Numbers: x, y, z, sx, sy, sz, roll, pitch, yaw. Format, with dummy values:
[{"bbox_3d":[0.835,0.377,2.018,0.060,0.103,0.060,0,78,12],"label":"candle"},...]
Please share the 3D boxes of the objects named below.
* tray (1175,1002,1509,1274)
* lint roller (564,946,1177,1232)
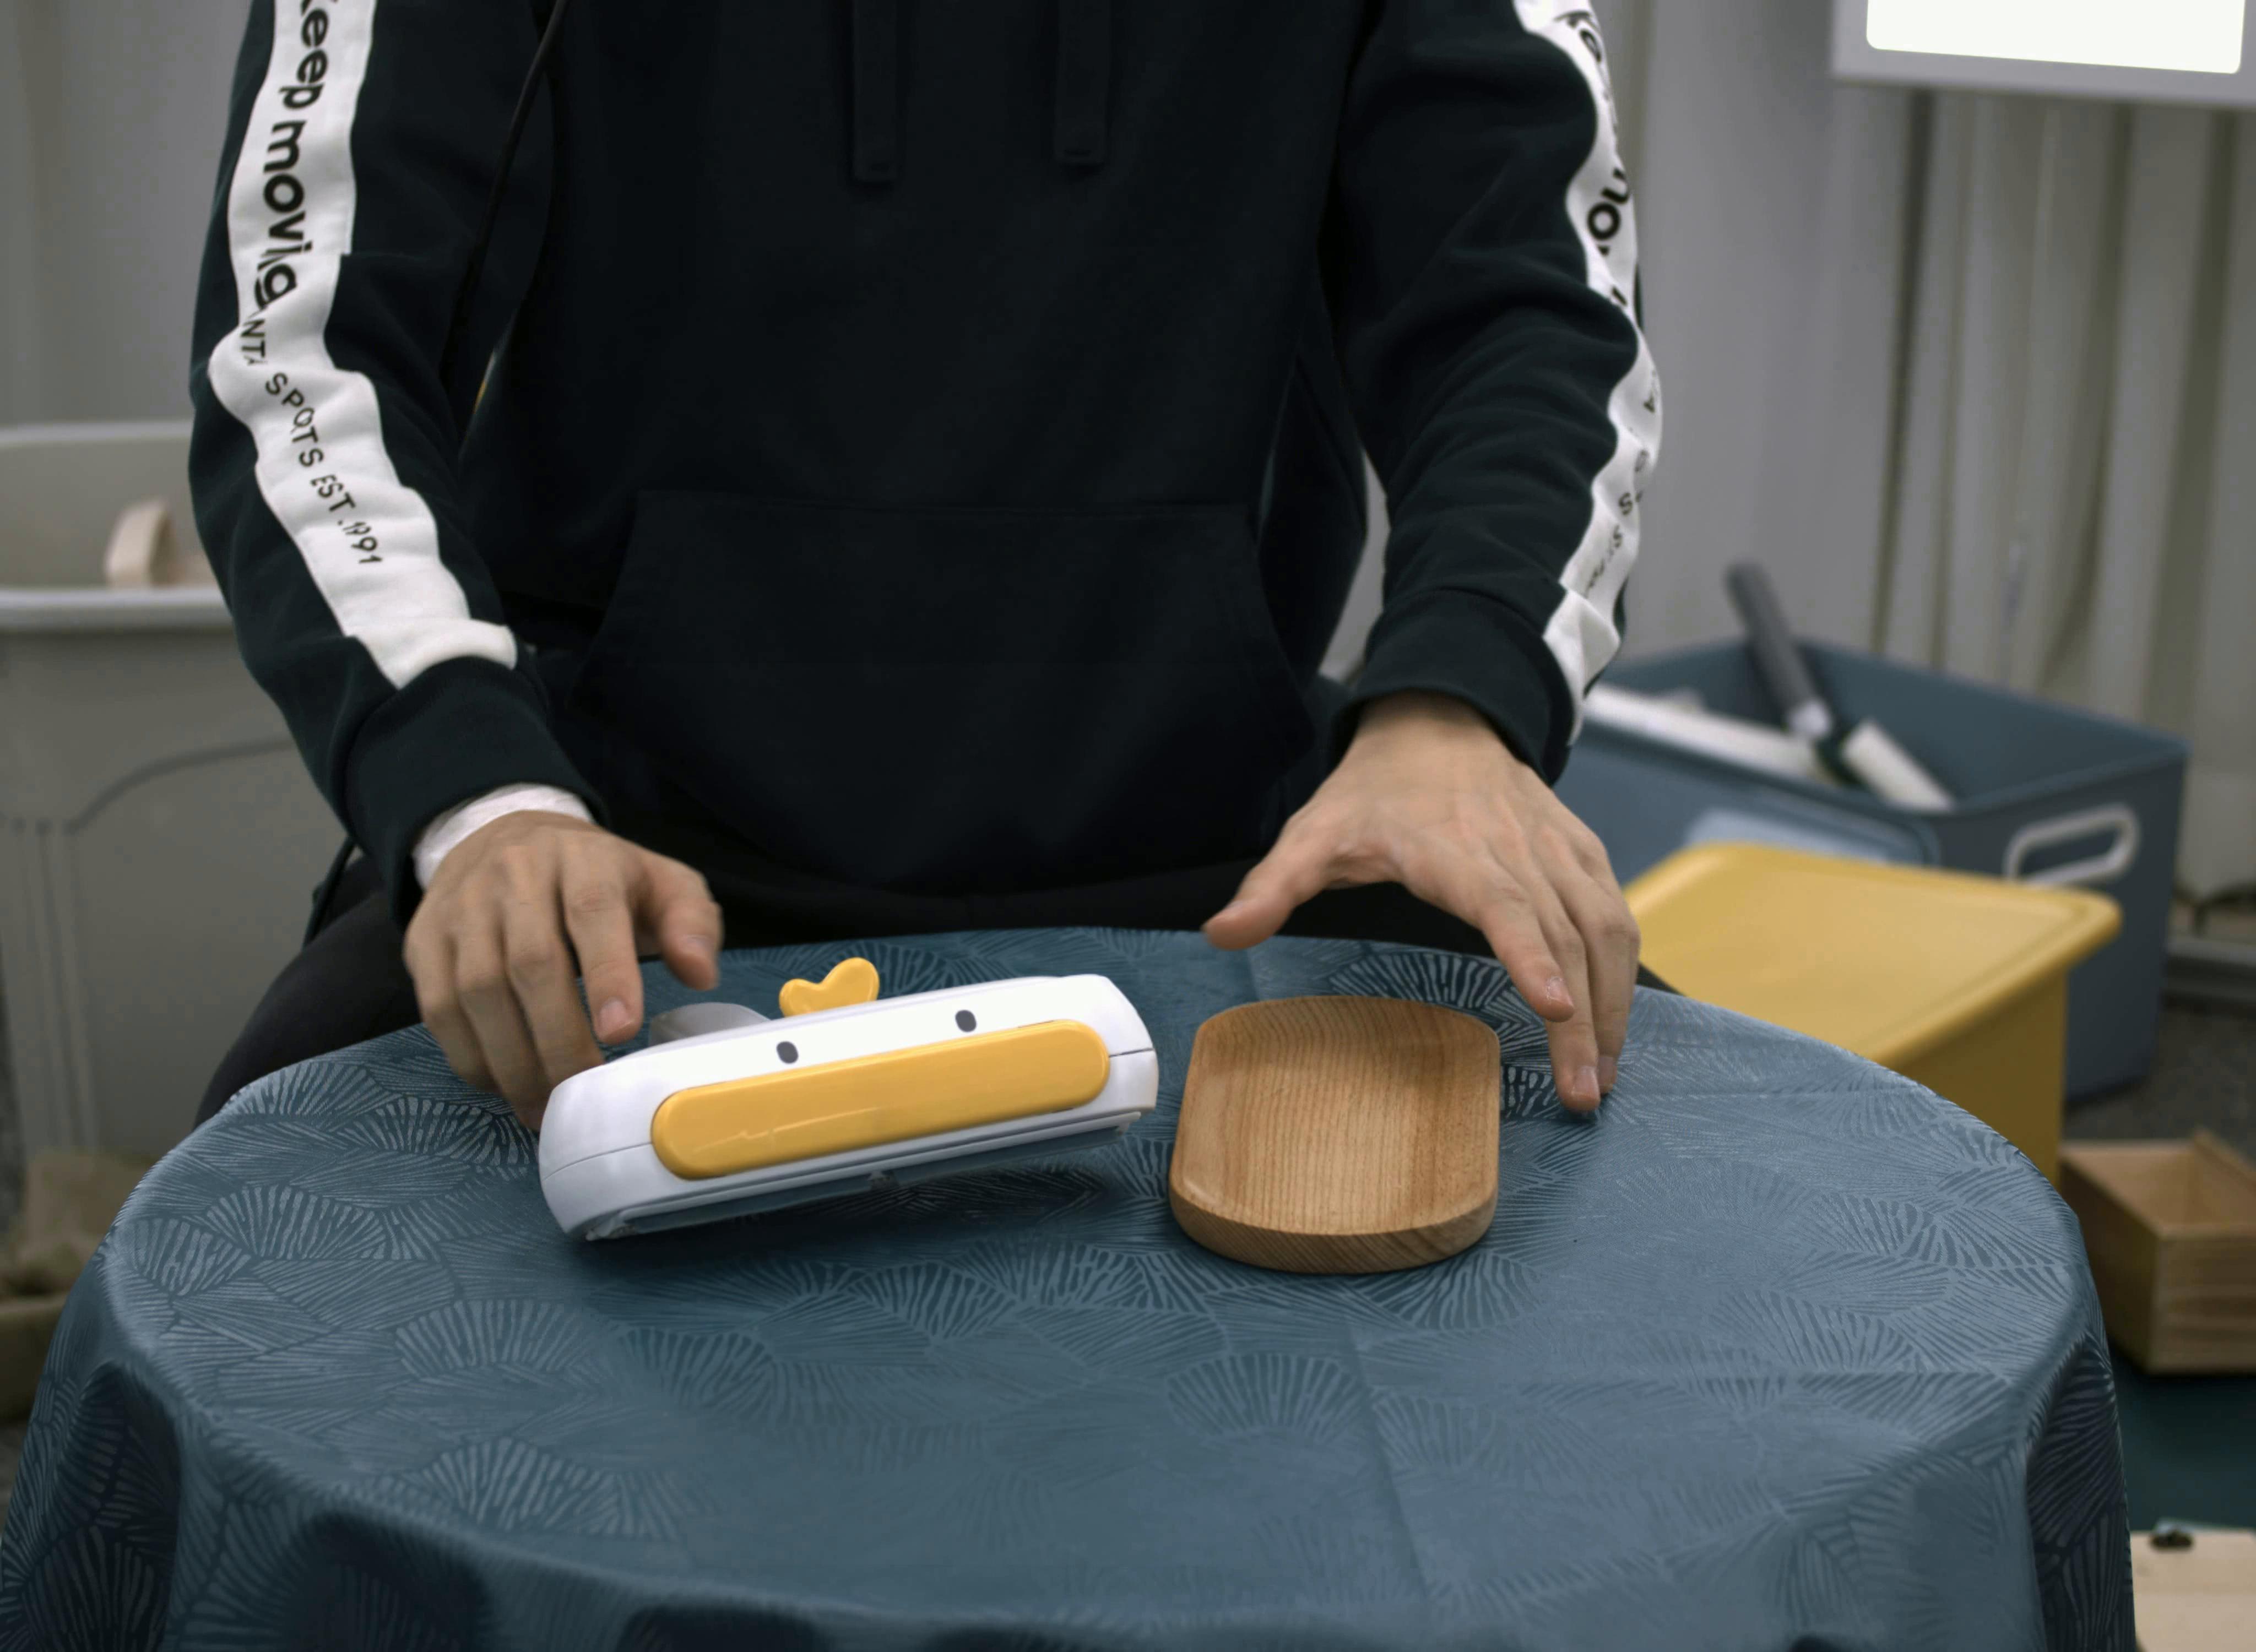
[{"bbox_3d":[0.068,0.096,1.651,0.101,0.020,0.230,1,16,3],"label":"tray"},{"bbox_3d":[-0.104,0.080,1.640,0.193,0.074,0.191,-15,1,-26],"label":"lint roller"}]
